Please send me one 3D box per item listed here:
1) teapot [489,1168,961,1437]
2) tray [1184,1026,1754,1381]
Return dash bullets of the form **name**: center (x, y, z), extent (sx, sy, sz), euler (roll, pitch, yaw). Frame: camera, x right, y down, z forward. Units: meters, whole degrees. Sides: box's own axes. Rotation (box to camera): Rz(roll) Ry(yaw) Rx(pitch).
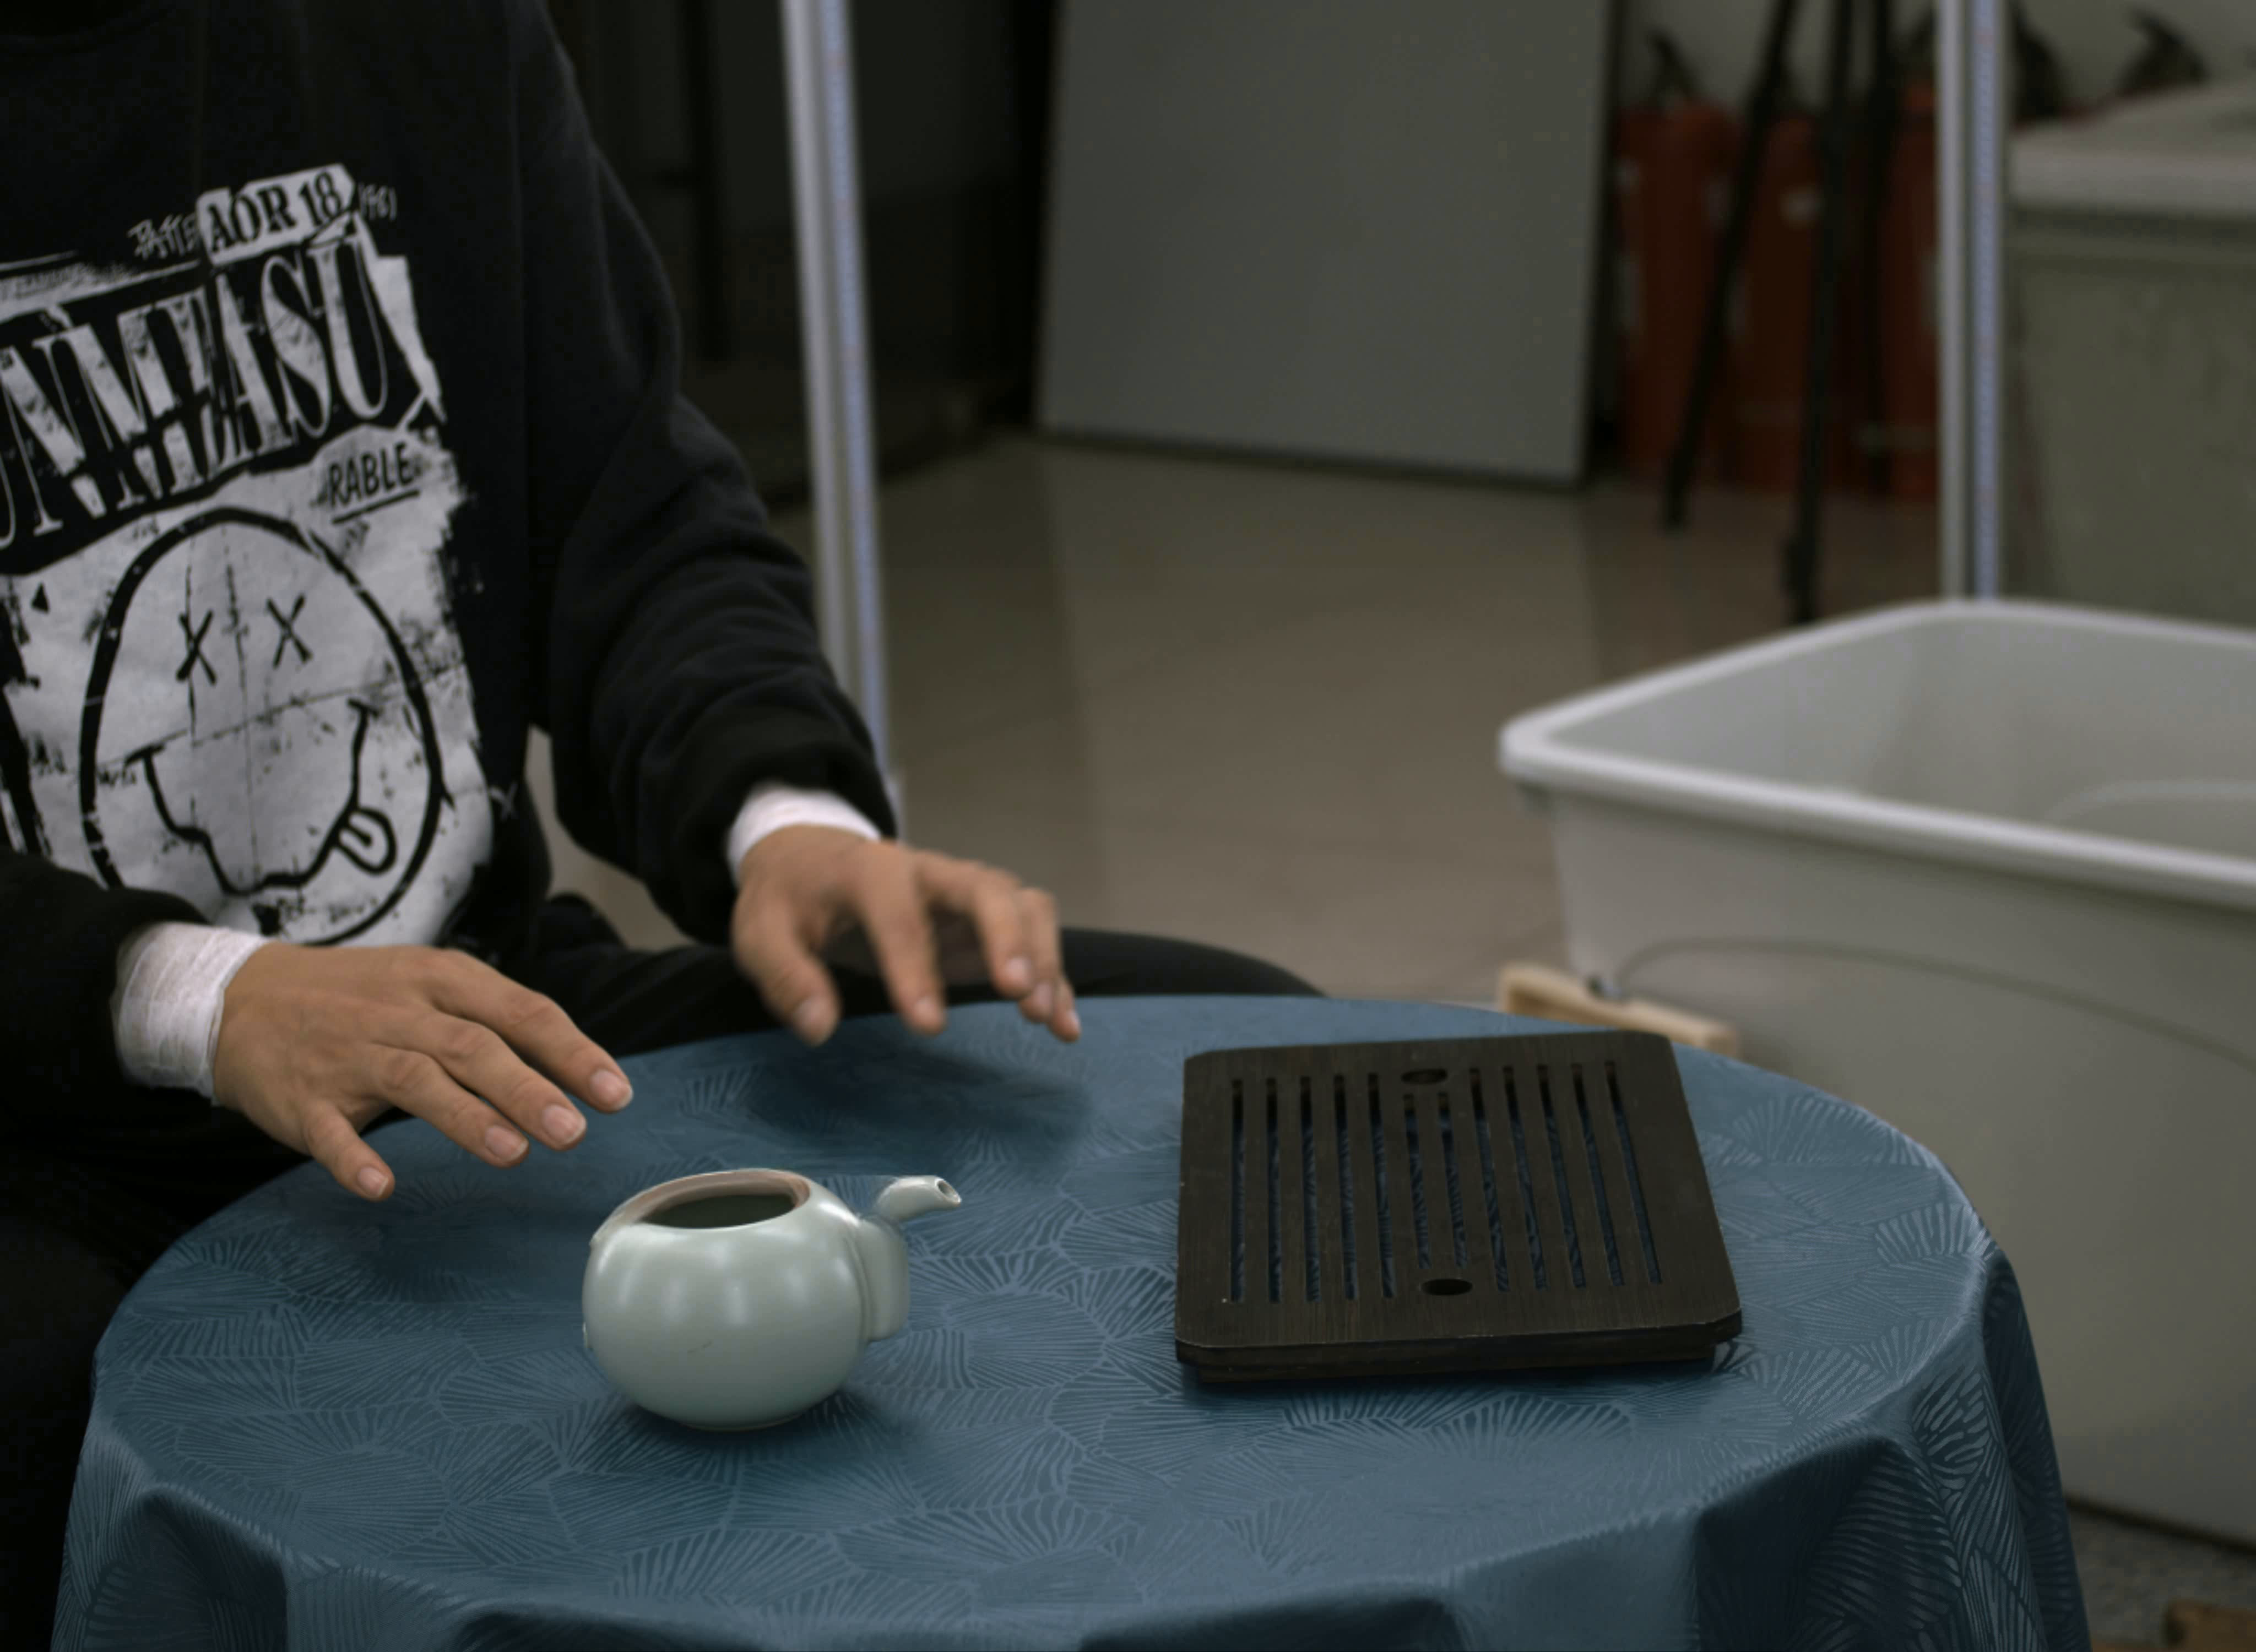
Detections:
- **teapot**: center (-0.117, 0.138, 1.591), extent (0.143, 0.075, 0.088), euler (1, 14, 12)
- **tray**: center (0.104, 0.118, 1.718), extent (0.168, 0.019, 0.306), euler (-4, 14, 3)
